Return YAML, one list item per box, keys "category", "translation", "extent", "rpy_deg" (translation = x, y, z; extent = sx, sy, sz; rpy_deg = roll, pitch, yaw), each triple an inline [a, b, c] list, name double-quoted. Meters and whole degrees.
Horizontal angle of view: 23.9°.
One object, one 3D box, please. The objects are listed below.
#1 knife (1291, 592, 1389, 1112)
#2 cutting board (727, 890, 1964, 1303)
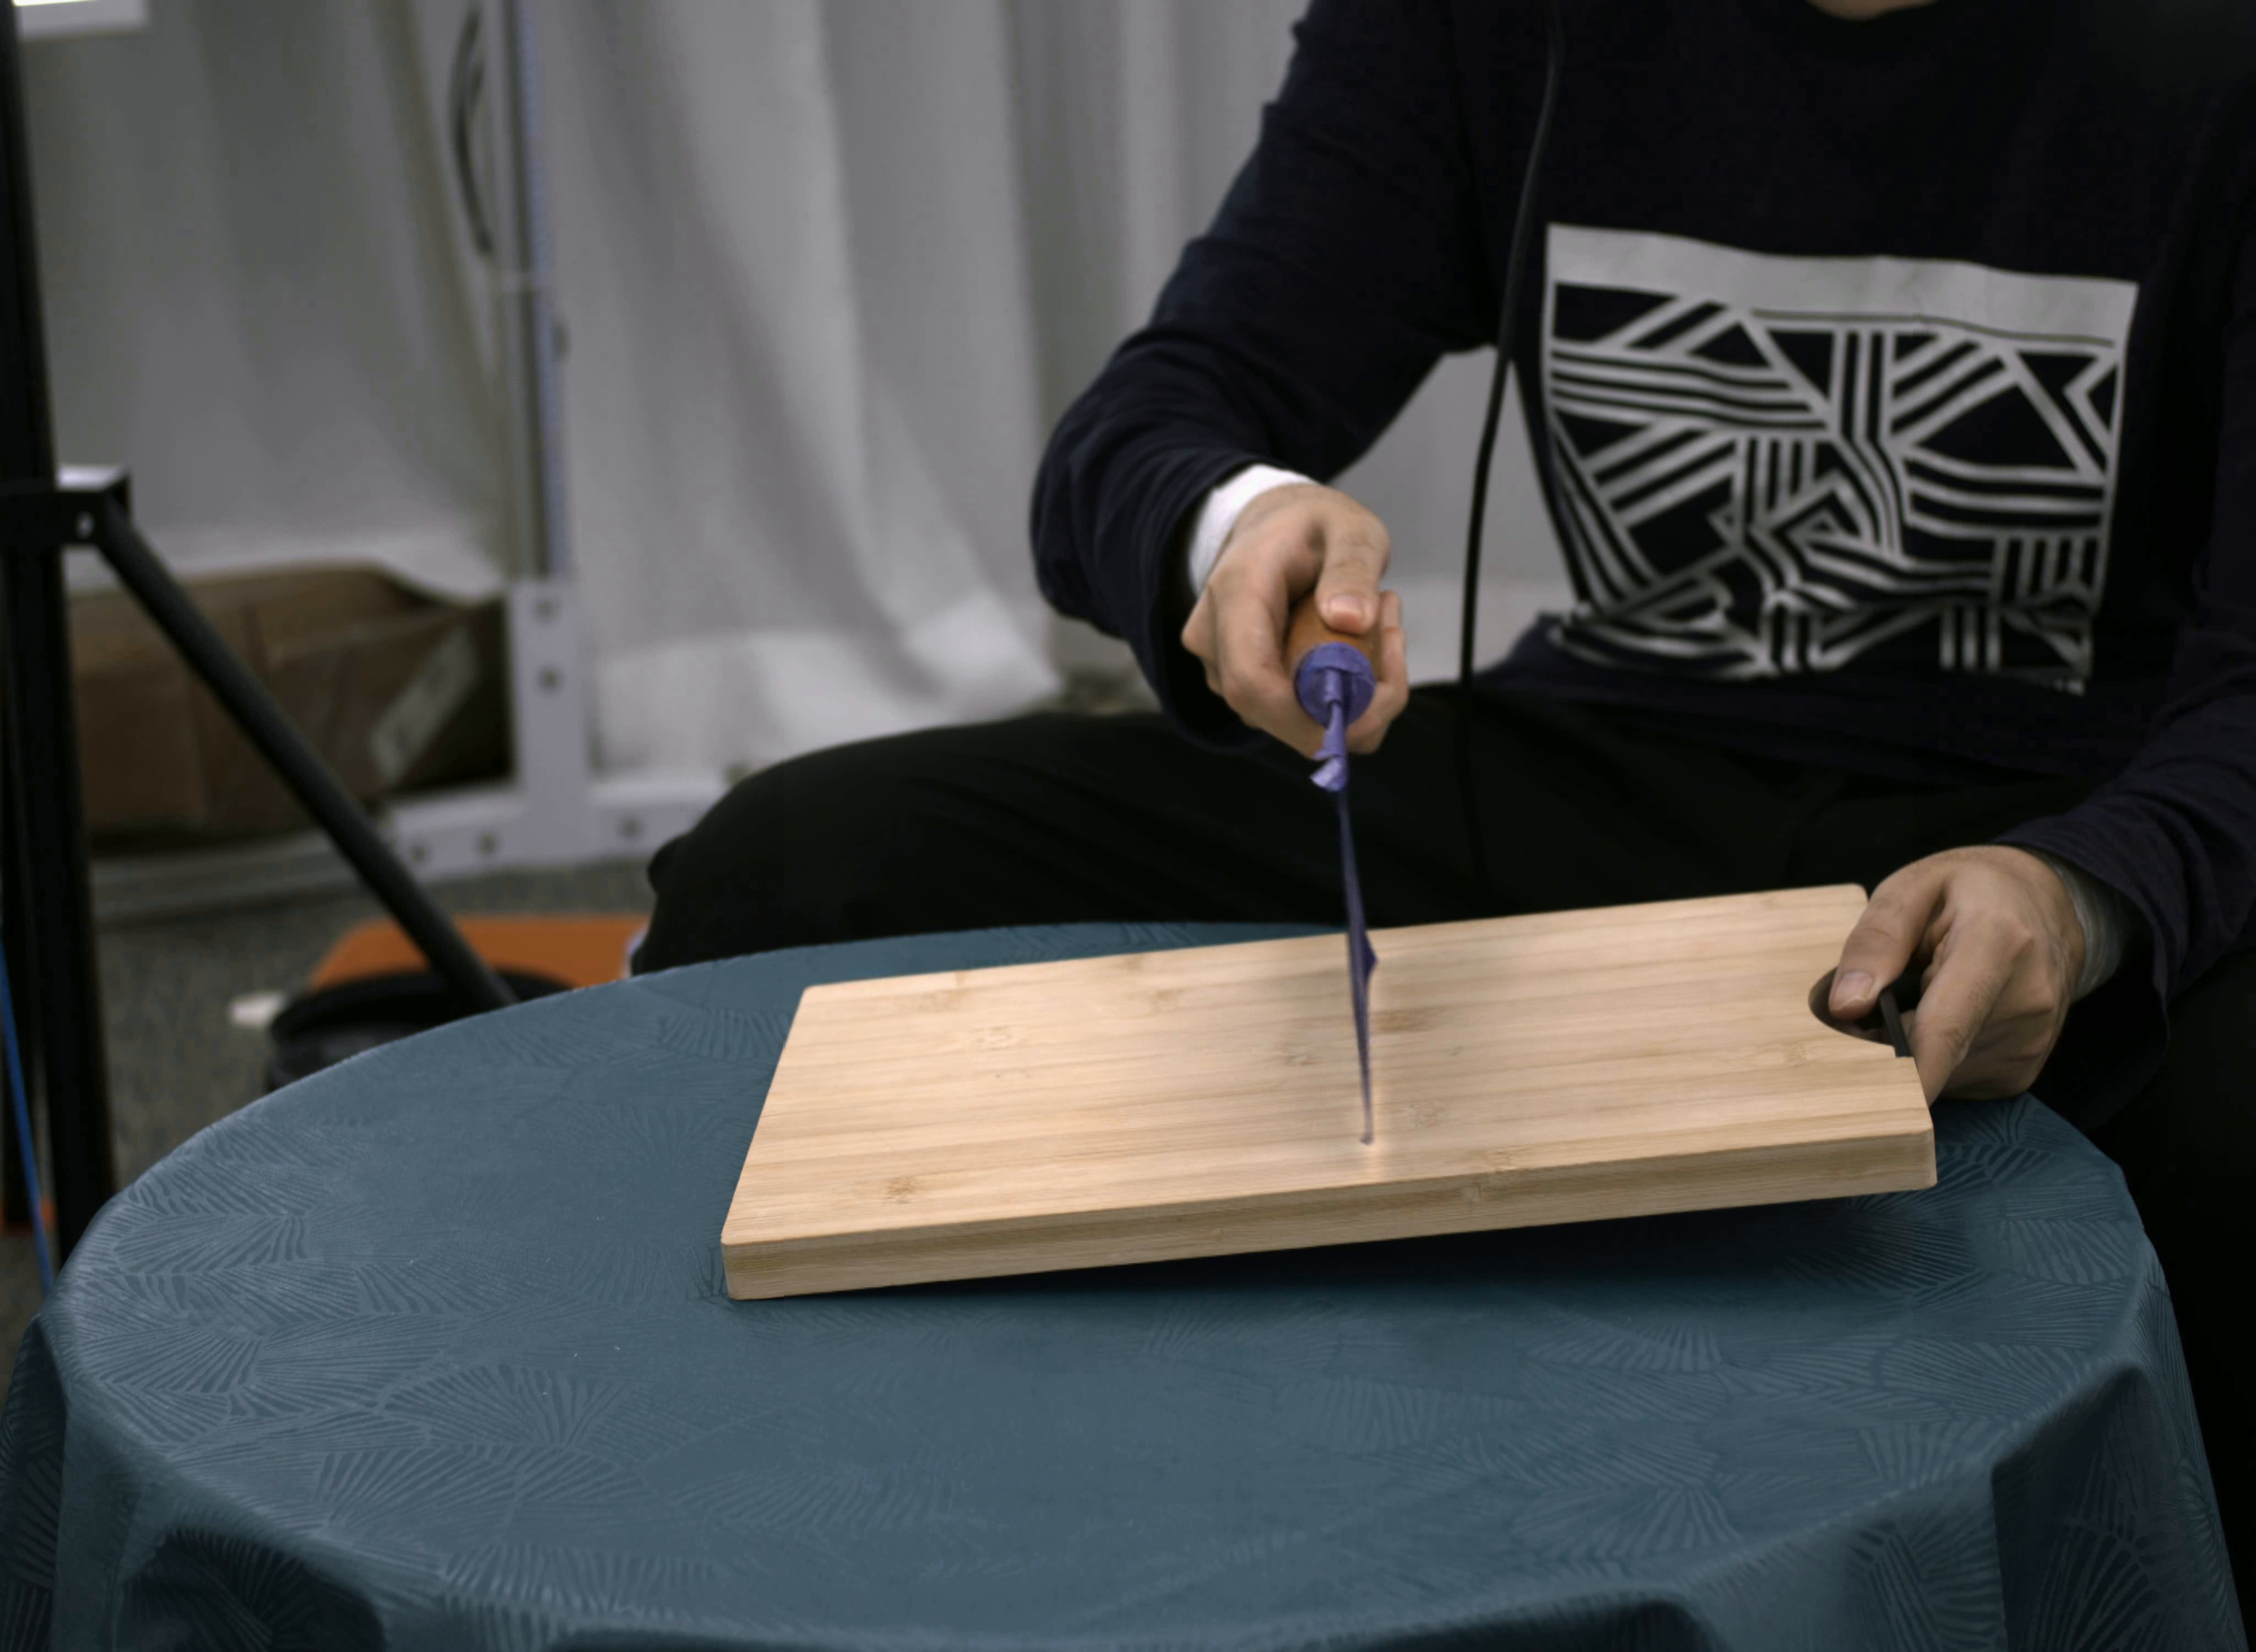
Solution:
- category: "knife"
  translation: [0.064, 0.005, 1.601]
  extent: [0.032, 0.104, 0.315]
  rpy_deg: [-4, 15, 4]
- category: "cutting board"
  translation: [0.065, 0.077, 1.582]
  extent: [0.348, 0.023, 0.251]
  rpy_deg: [-6, 15, 5]
